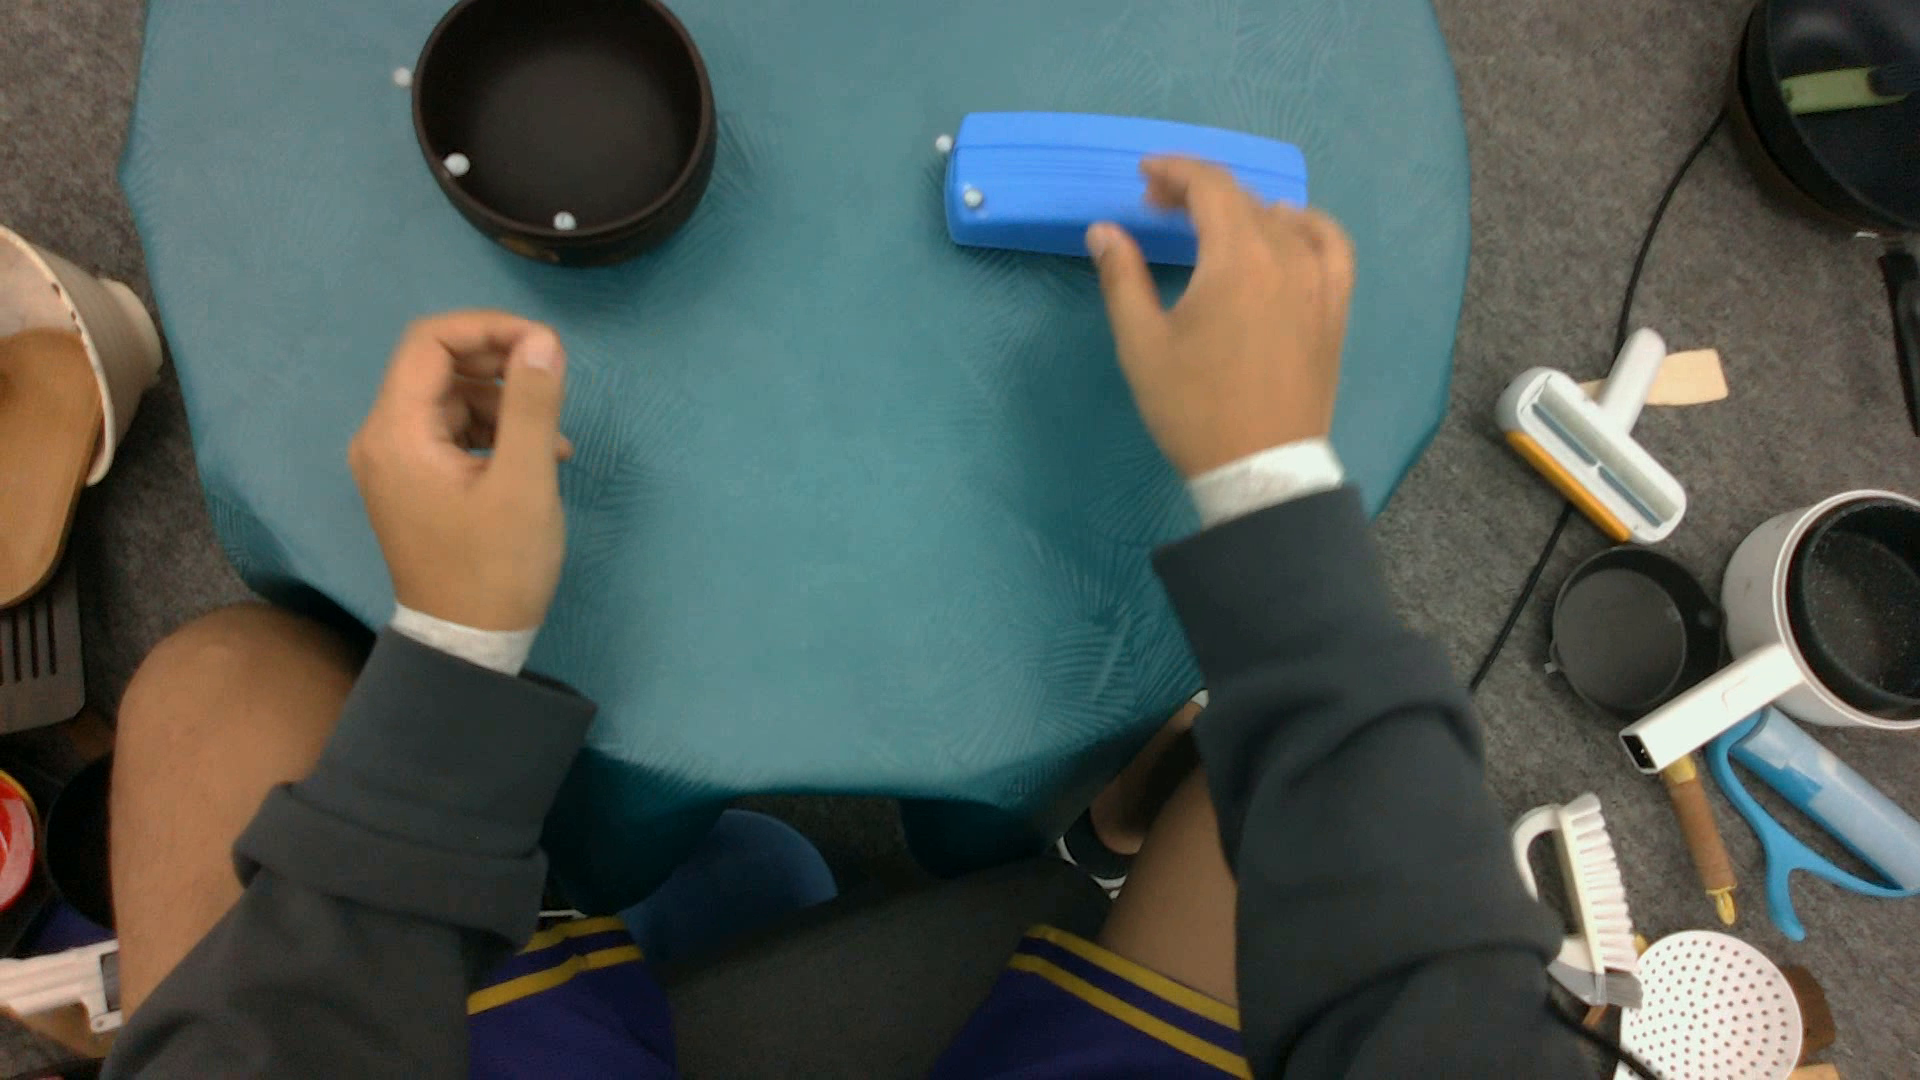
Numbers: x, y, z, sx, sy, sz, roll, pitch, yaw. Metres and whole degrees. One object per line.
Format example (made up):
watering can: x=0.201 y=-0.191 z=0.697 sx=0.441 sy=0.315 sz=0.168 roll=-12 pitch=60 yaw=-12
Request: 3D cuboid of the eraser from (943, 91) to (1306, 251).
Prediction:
eraser: x=0.074 y=-0.164 z=0.609 sx=0.162 sy=0.047 sz=0.054 roll=3 pitch=80 yaw=-7

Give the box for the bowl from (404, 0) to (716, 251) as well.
bowl: x=-0.159 y=-0.173 z=0.562 sx=0.118 sy=0.070 sz=0.118 roll=1 pitch=82 yaw=-9
